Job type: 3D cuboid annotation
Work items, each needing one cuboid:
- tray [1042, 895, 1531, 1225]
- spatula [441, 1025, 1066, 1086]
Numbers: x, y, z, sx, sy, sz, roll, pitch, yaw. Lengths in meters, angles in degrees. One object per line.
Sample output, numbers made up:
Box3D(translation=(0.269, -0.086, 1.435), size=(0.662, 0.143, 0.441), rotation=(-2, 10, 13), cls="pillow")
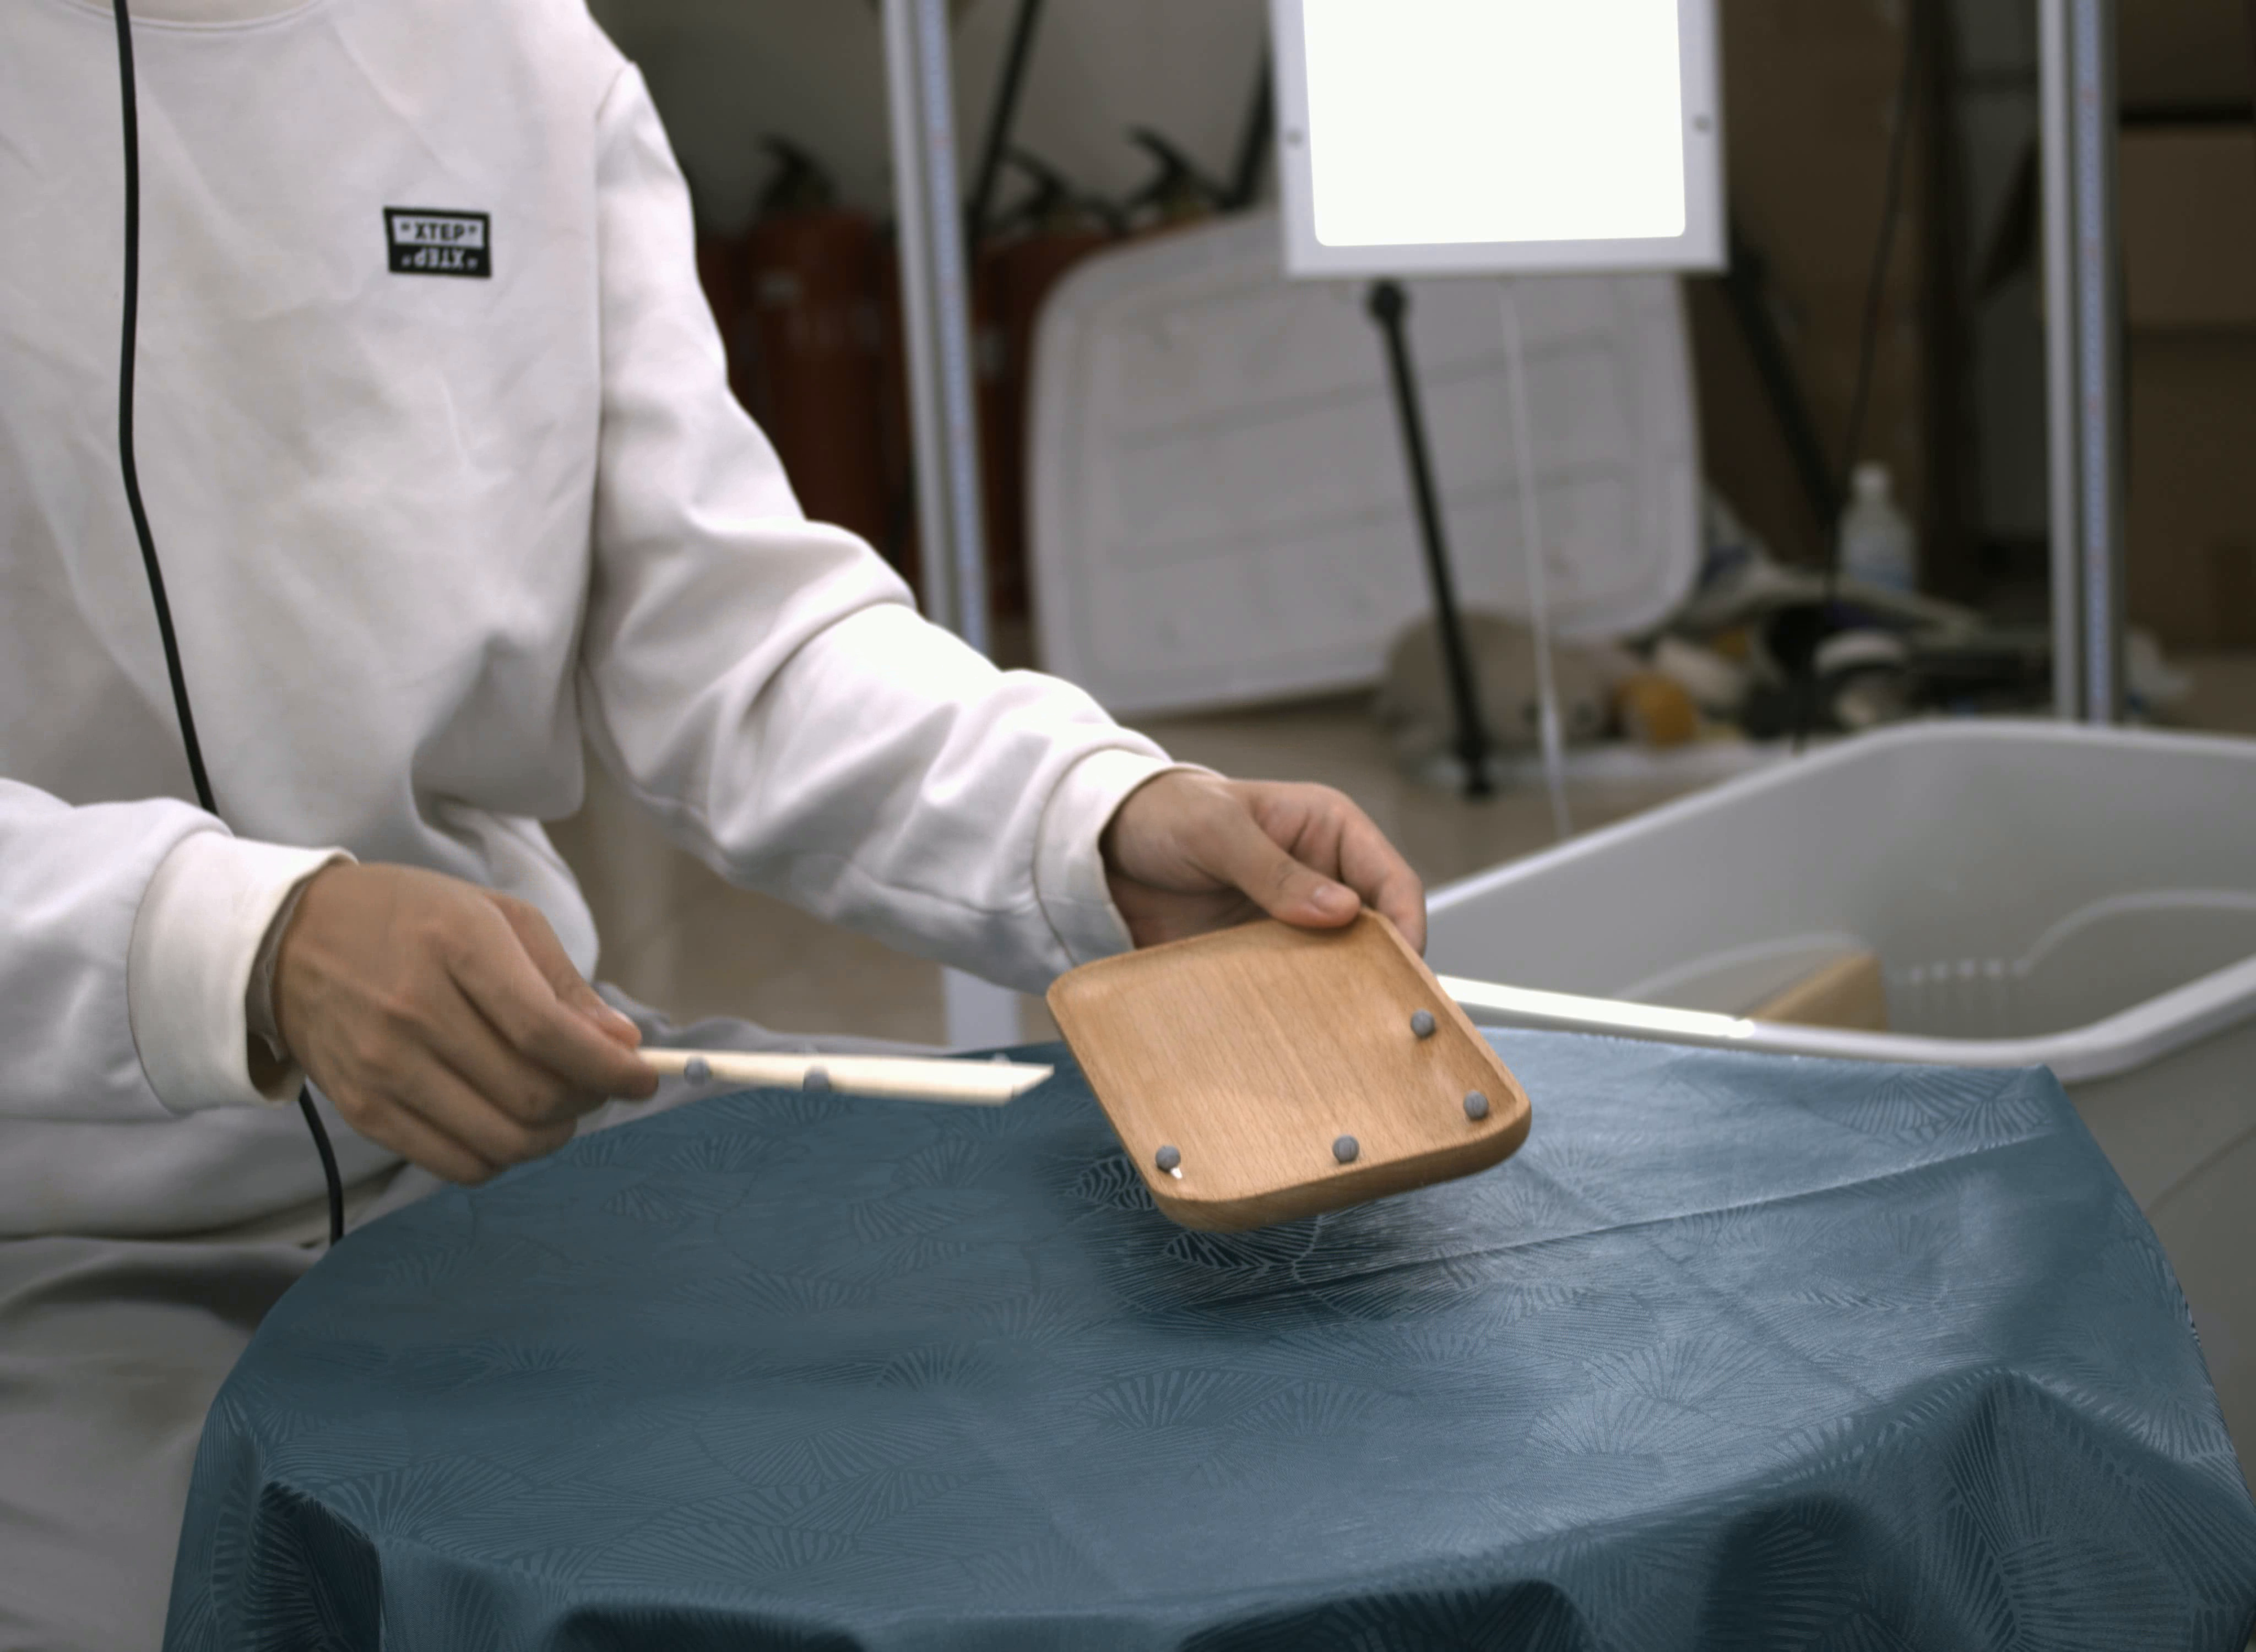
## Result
Box3D(translation=(0.051, 0.077, 1.861), size=(0.129, 0.023, 0.252), rotation=(-11, 17, -7), cls="tray")
Box3D(translation=(-0.124, 0.073, 1.771), size=(0.210, 0.005, 0.050), rotation=(3, 4, 19), cls="spatula")
